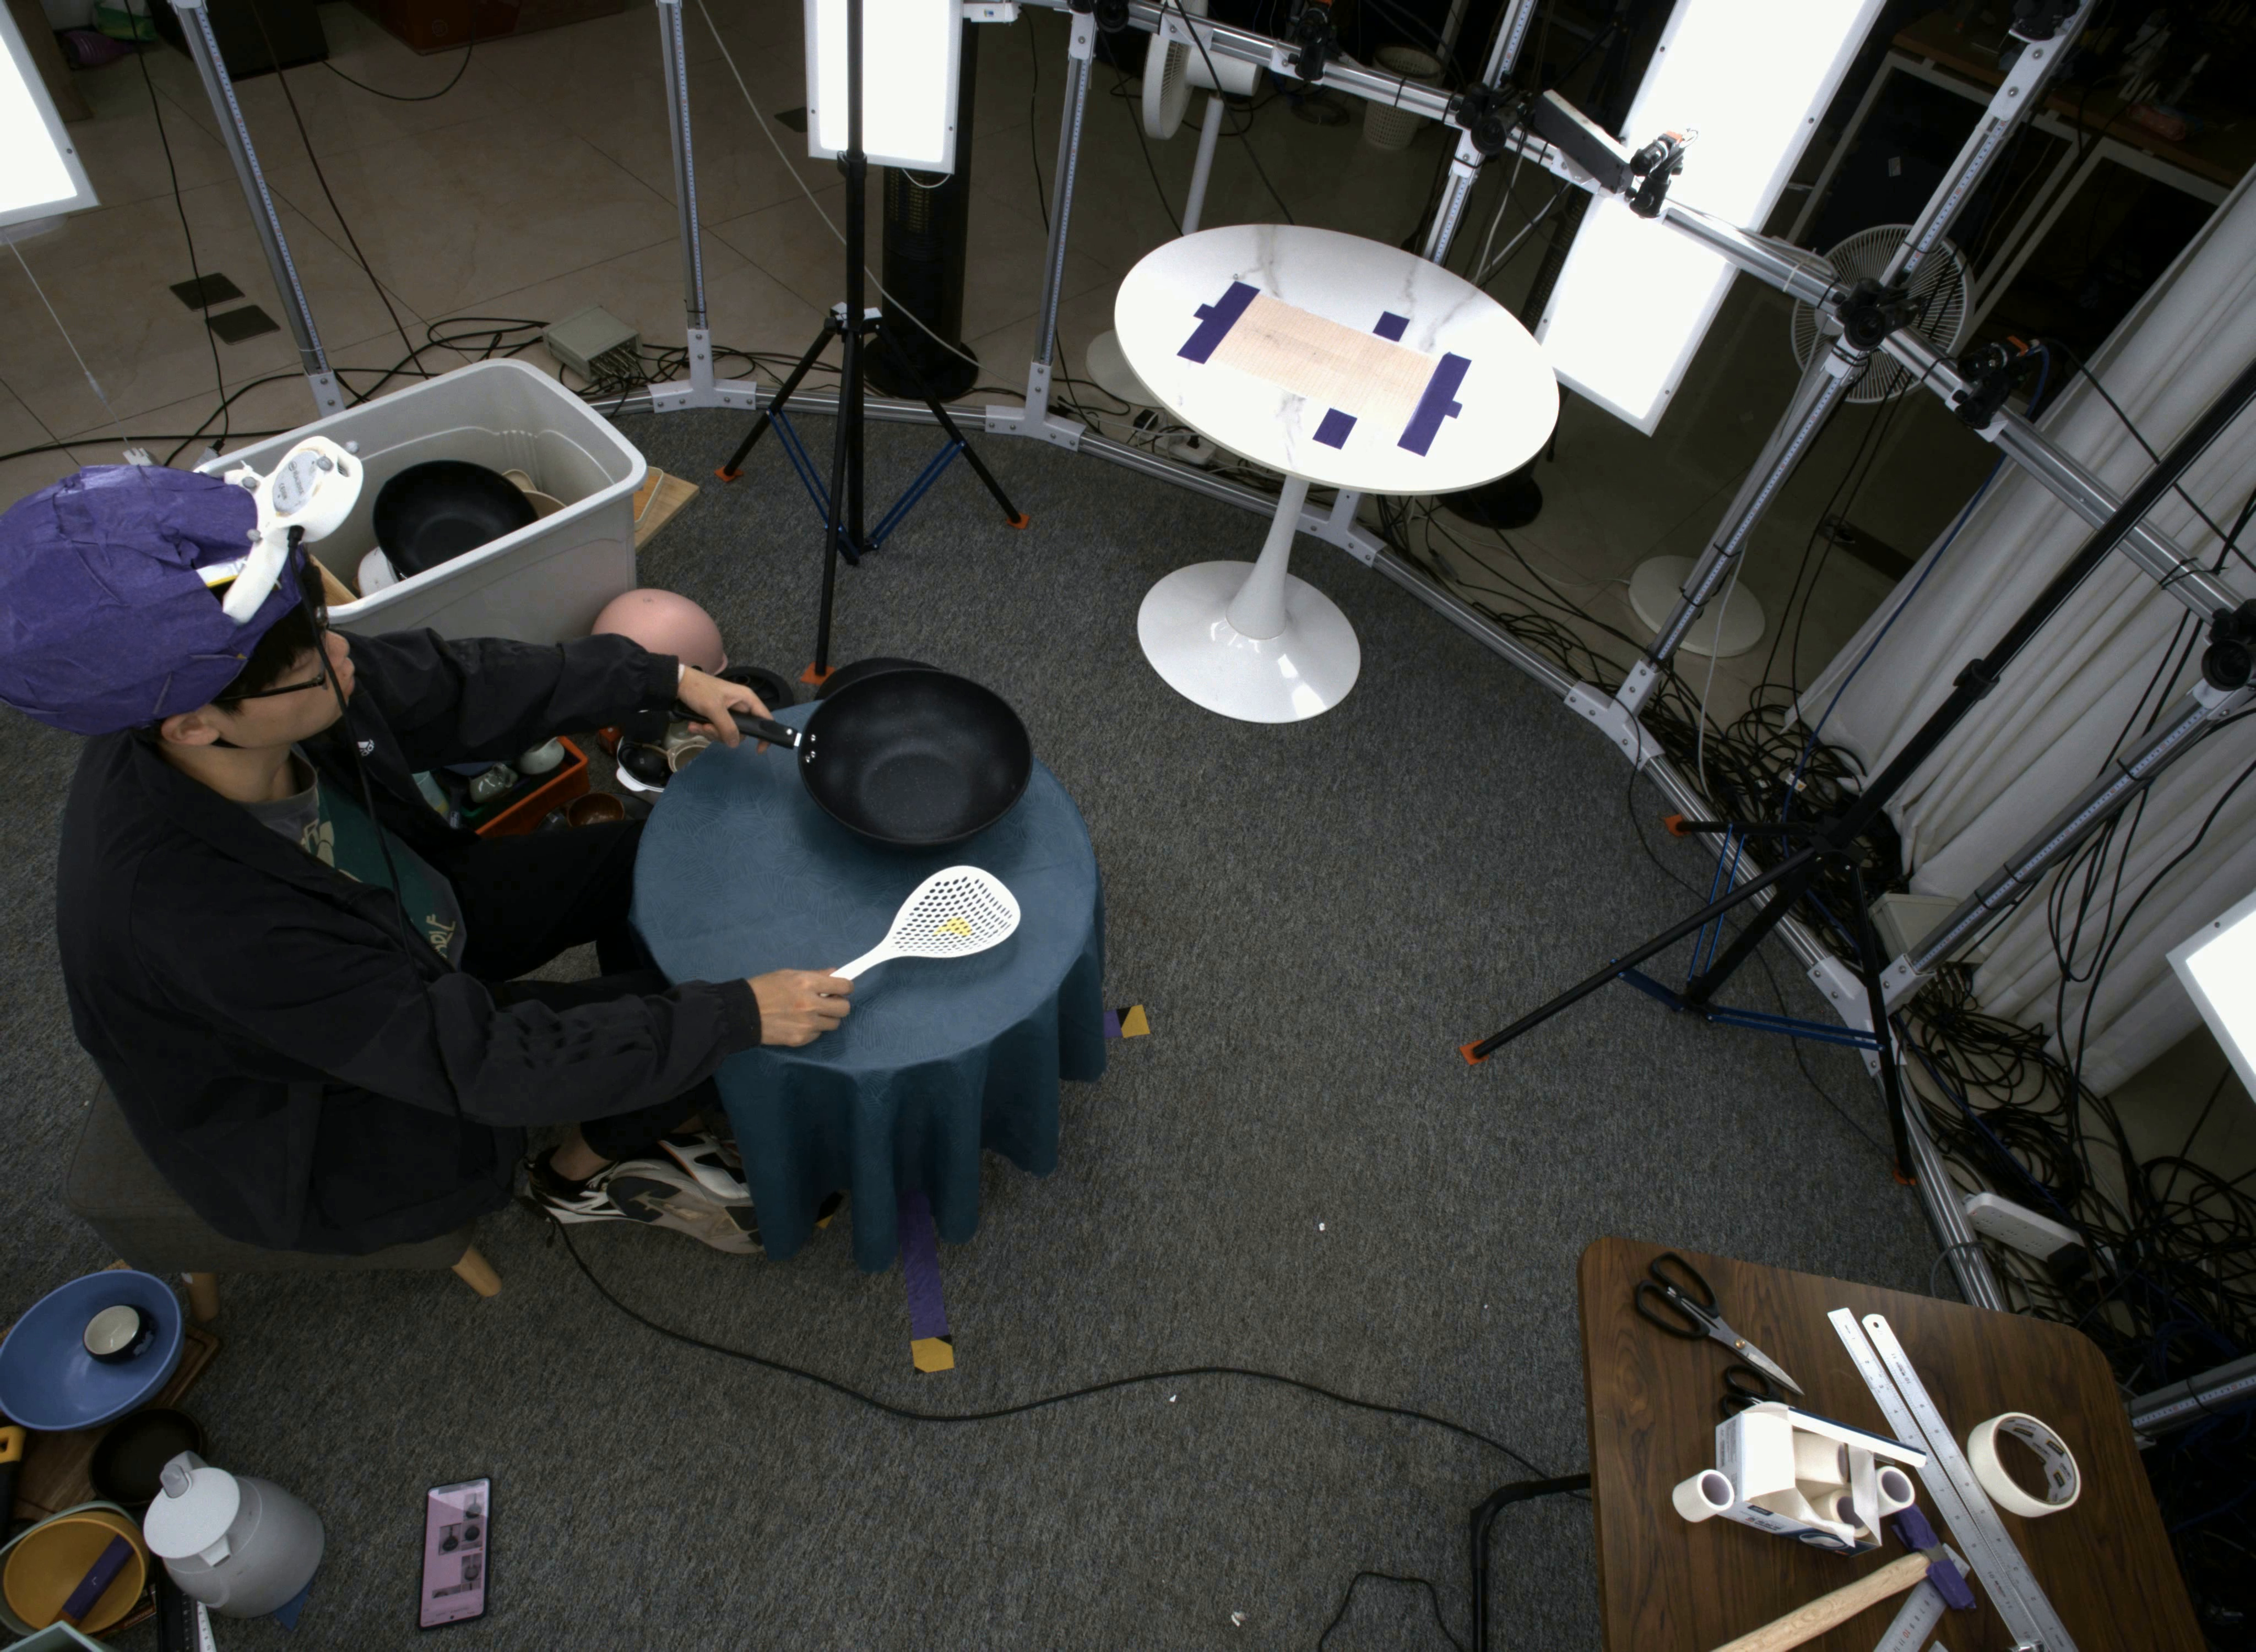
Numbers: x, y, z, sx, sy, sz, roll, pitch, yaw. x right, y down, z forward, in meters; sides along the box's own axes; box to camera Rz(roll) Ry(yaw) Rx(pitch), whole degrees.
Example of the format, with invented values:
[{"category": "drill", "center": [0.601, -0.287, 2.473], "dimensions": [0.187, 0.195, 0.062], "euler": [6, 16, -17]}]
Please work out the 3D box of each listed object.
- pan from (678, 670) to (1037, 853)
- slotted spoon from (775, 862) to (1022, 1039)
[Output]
[{"category": "pan", "center": [-0.360, -0.092, 1.742], "dimensions": [0.475, 0.114, 0.304], "euler": [8, 50, -7]}, {"category": "slotted spoon", "center": [-0.286, 0.155, 1.600], "dimensions": [0.350, 0.051, 0.133], "euler": [-28, 63, -36]}]
